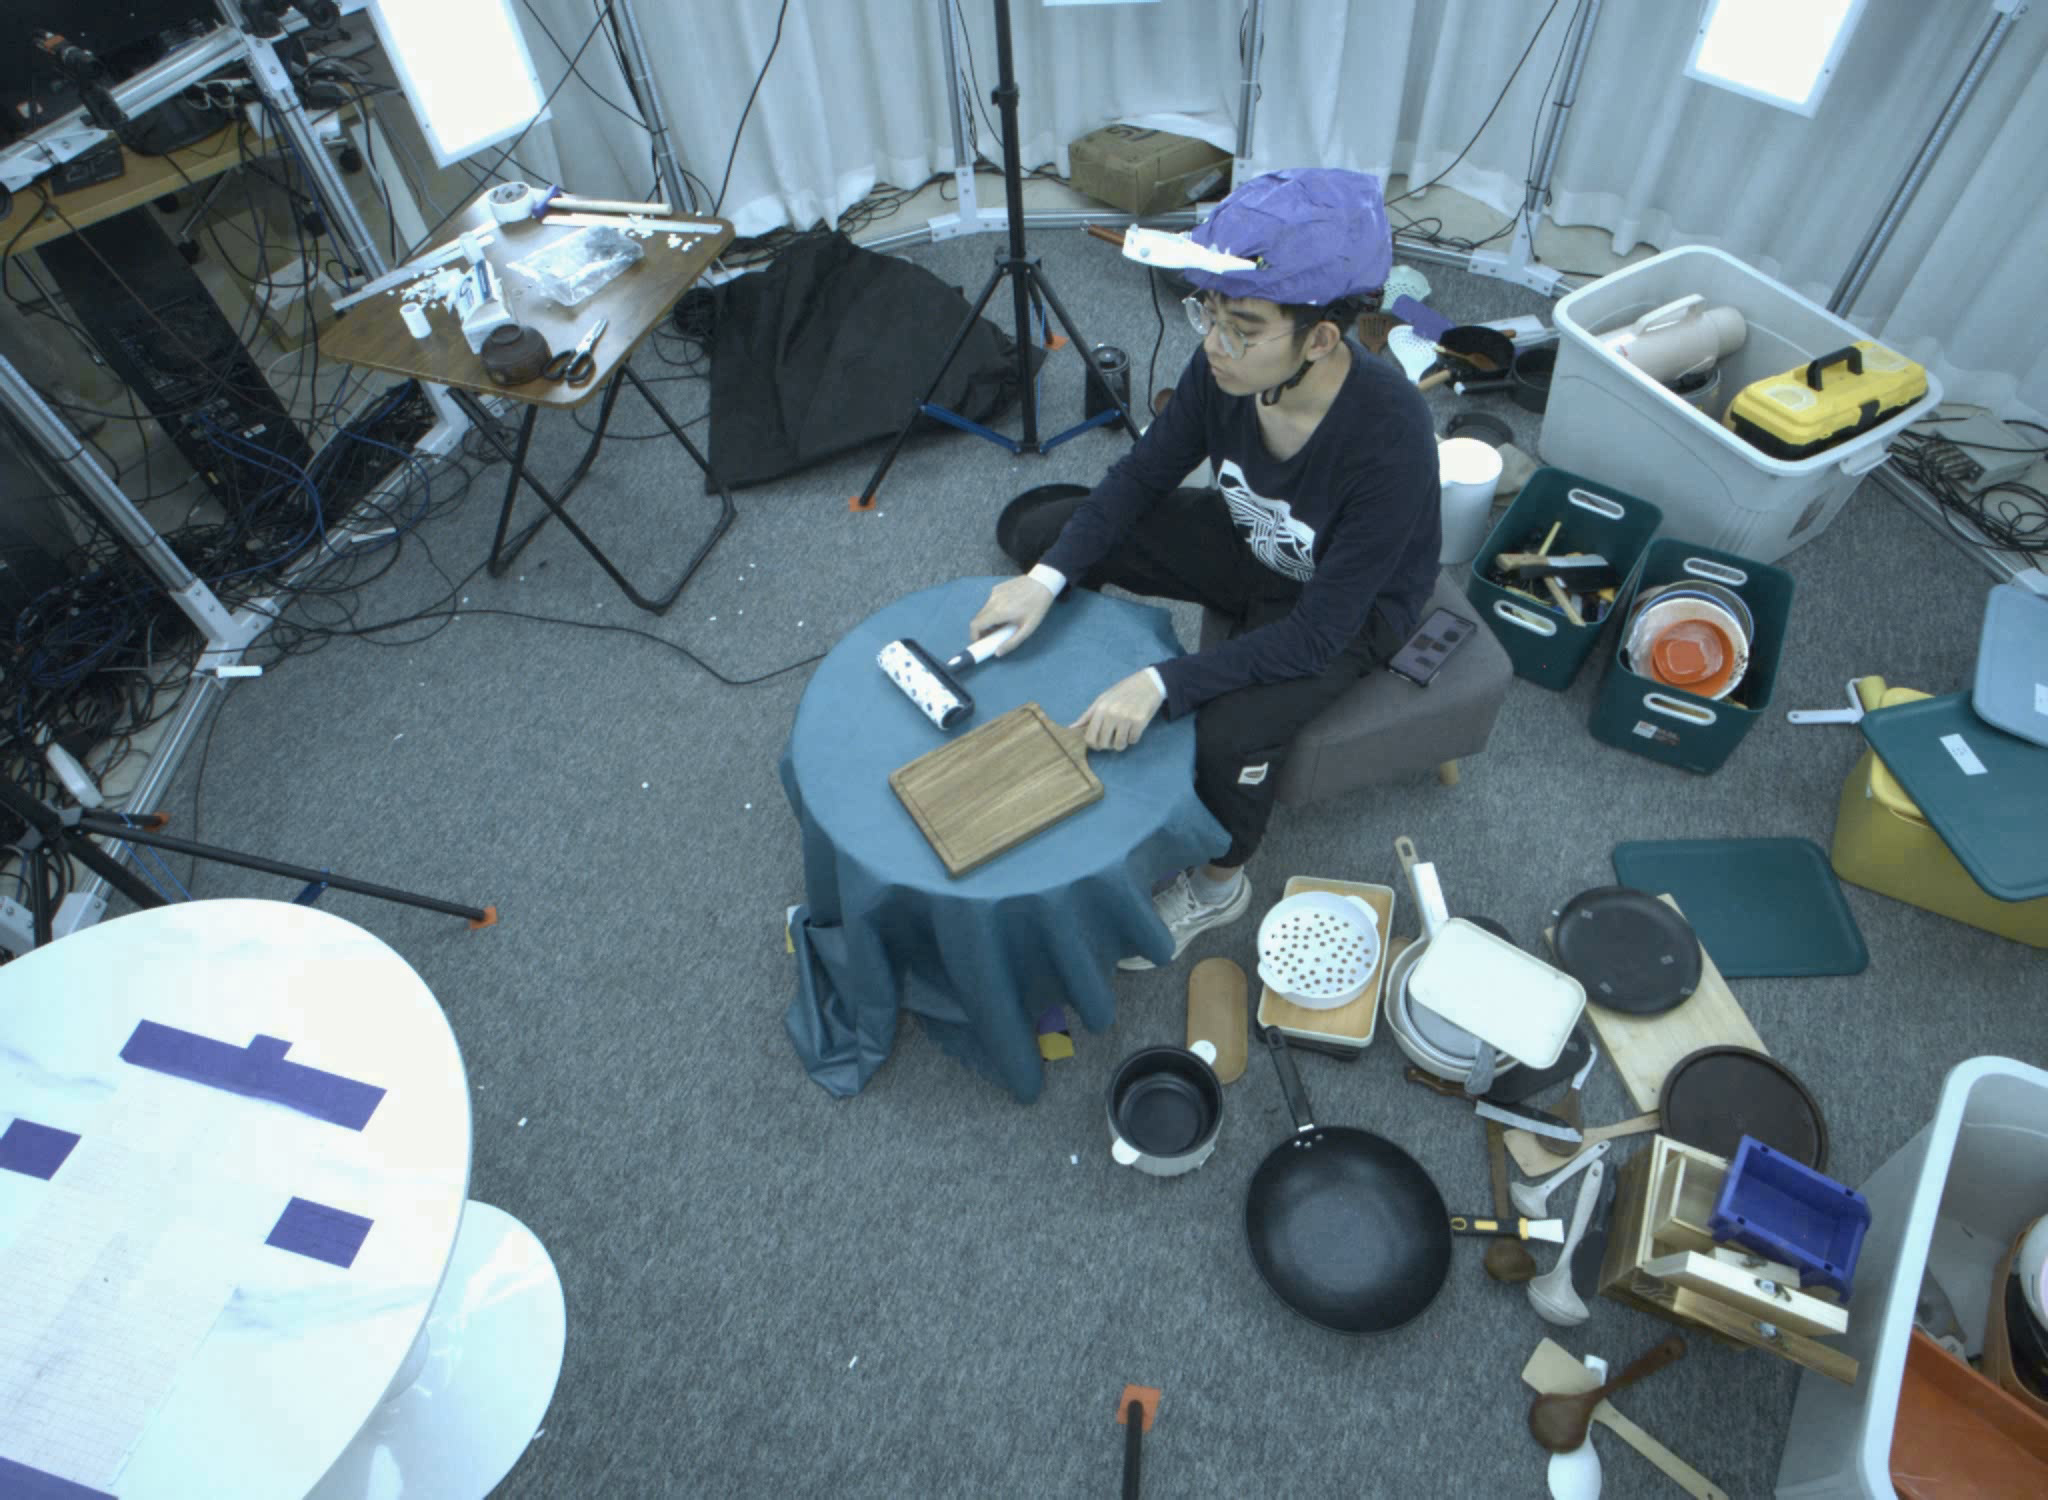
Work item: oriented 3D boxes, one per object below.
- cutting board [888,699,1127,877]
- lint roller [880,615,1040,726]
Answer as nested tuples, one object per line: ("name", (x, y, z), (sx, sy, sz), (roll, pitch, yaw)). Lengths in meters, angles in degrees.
("cutting board", (0.001, 0.026, 1.763), (0.355, 0.023, 0.197), (-29, 59, -18))
("lint roller", (-0.076, -0.151, 1.880), (0.249, 0.051, 0.173), (-33, 59, -23))
